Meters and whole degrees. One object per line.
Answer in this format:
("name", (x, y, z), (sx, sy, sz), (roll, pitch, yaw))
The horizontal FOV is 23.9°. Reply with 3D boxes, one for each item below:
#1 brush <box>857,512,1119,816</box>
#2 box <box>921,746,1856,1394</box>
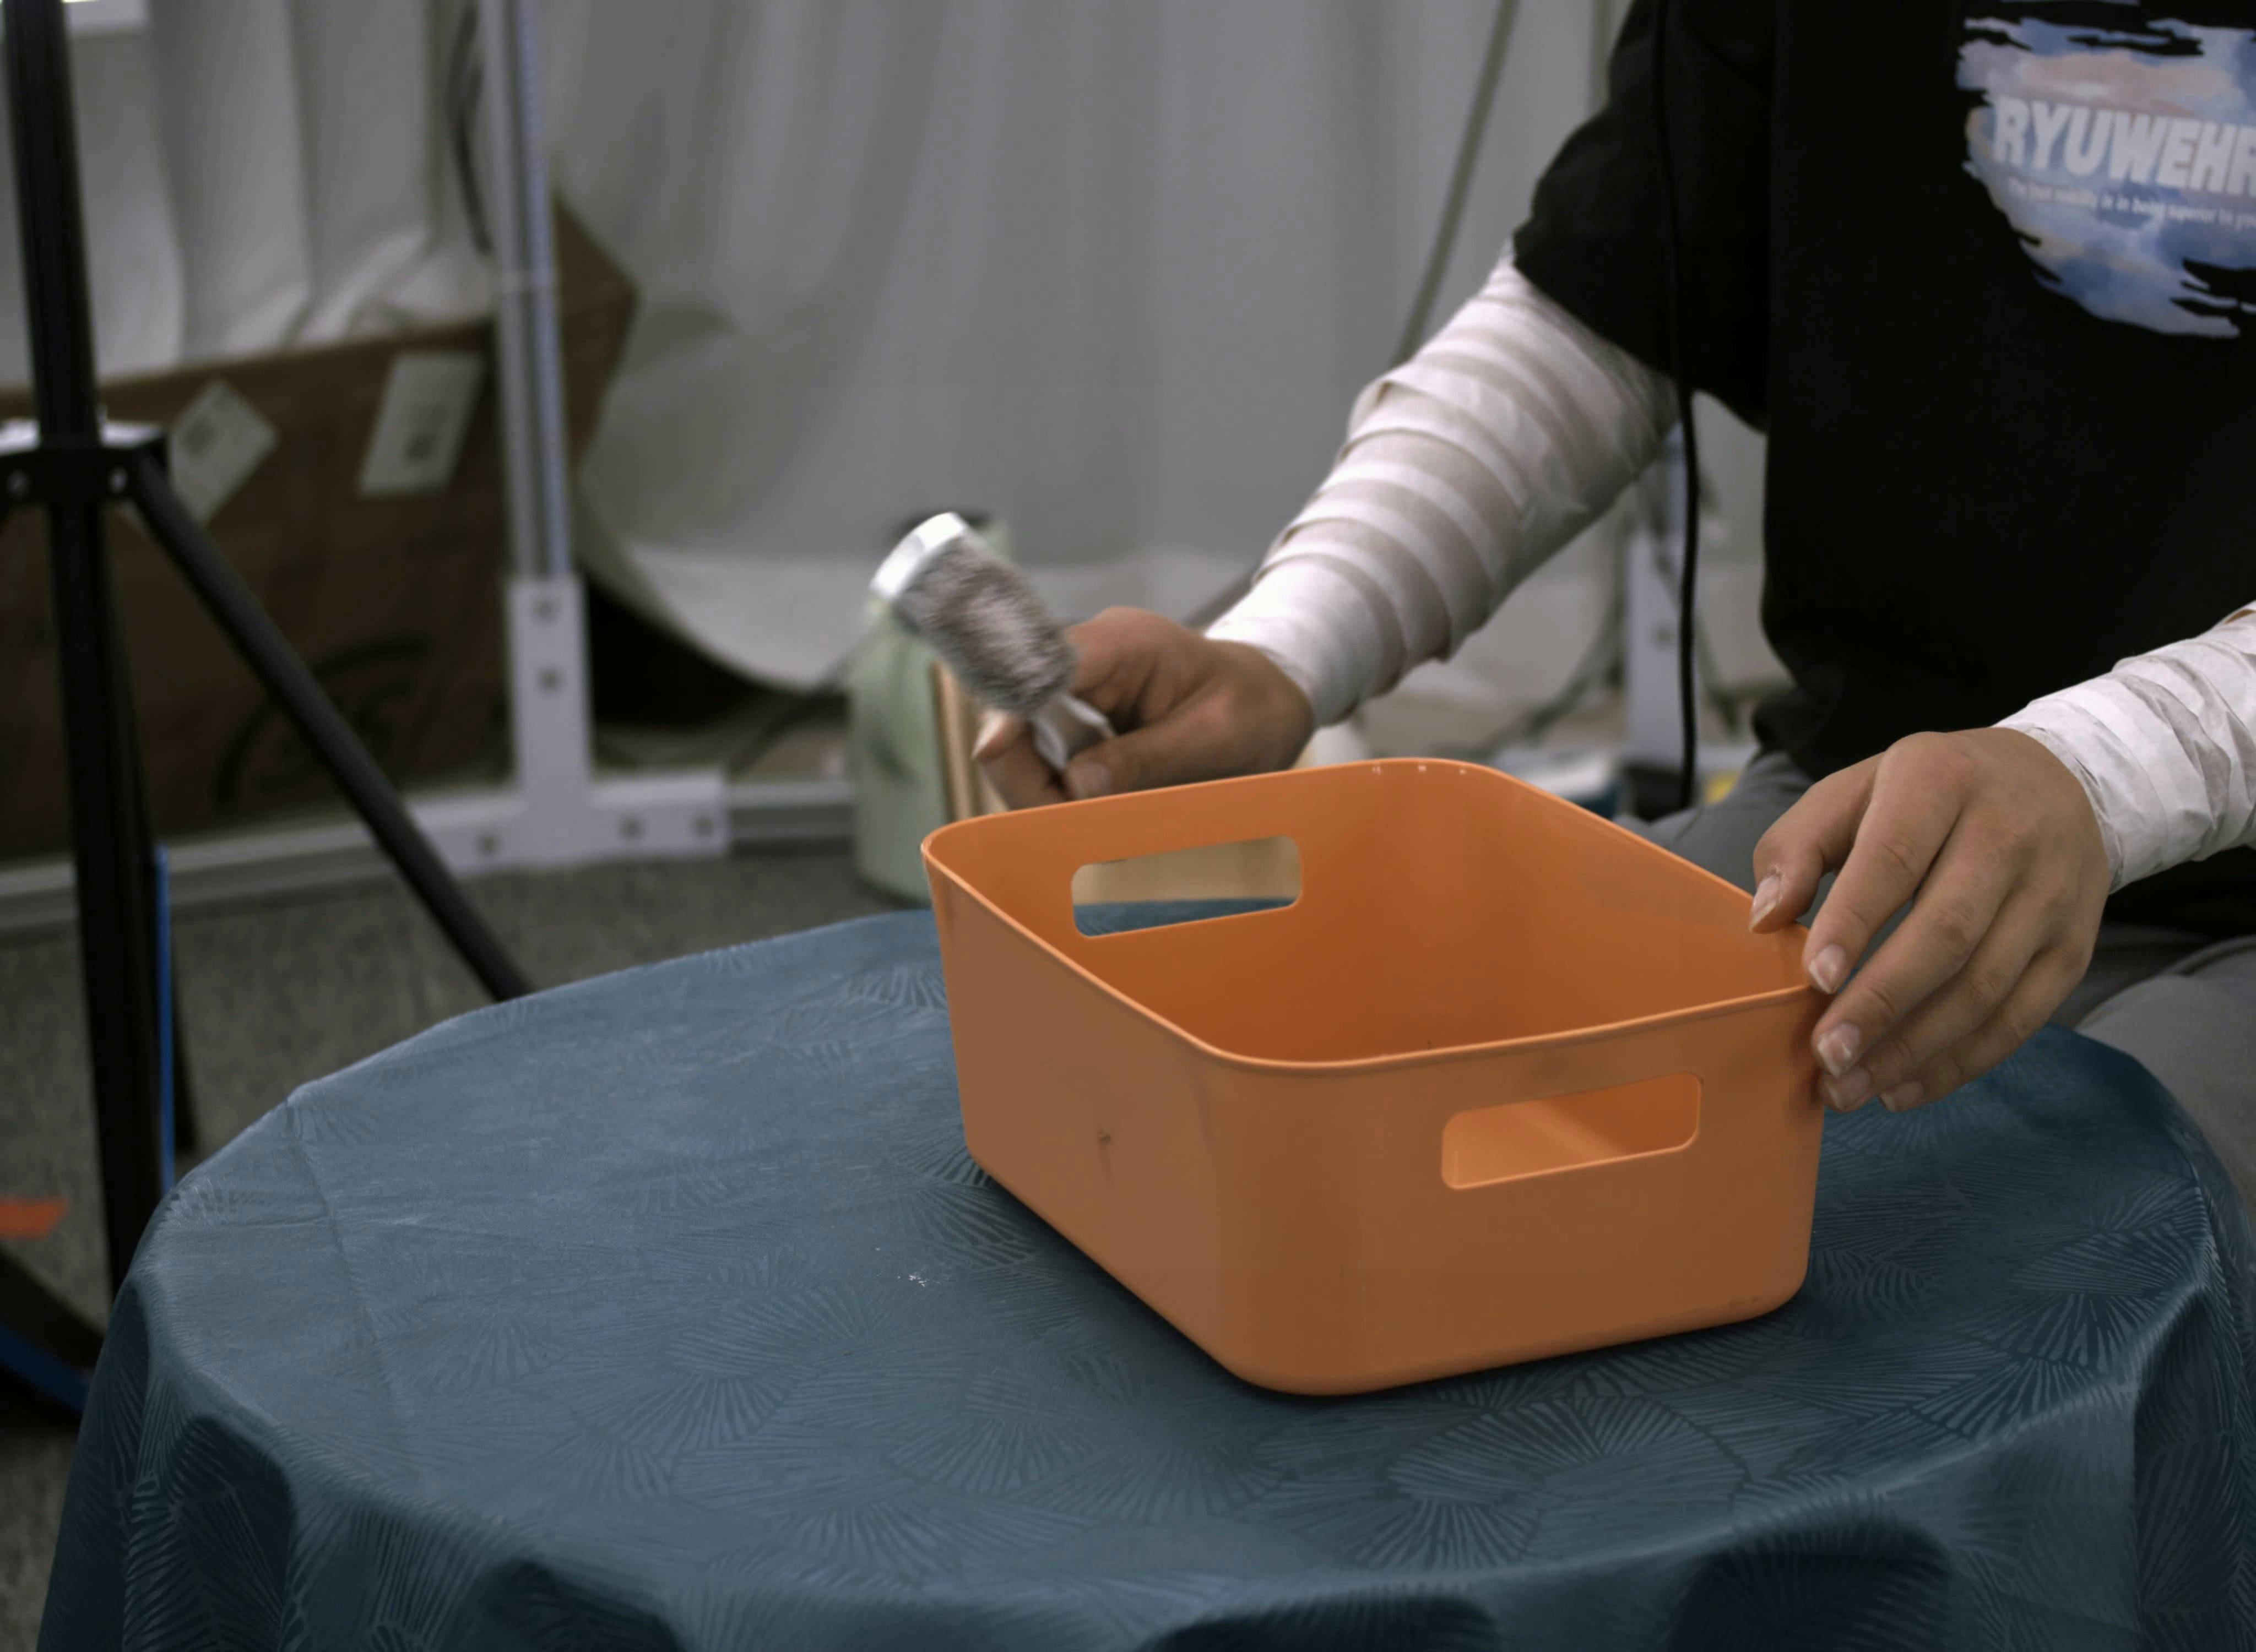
("brush", (-0.026, -0.029, 1.702), (0.051, 0.034, 0.239), (42, -6, 30))
("box", (0.070, 0.065, 1.504), (0.196, 0.102, 0.278), (-9, 17, -21))
